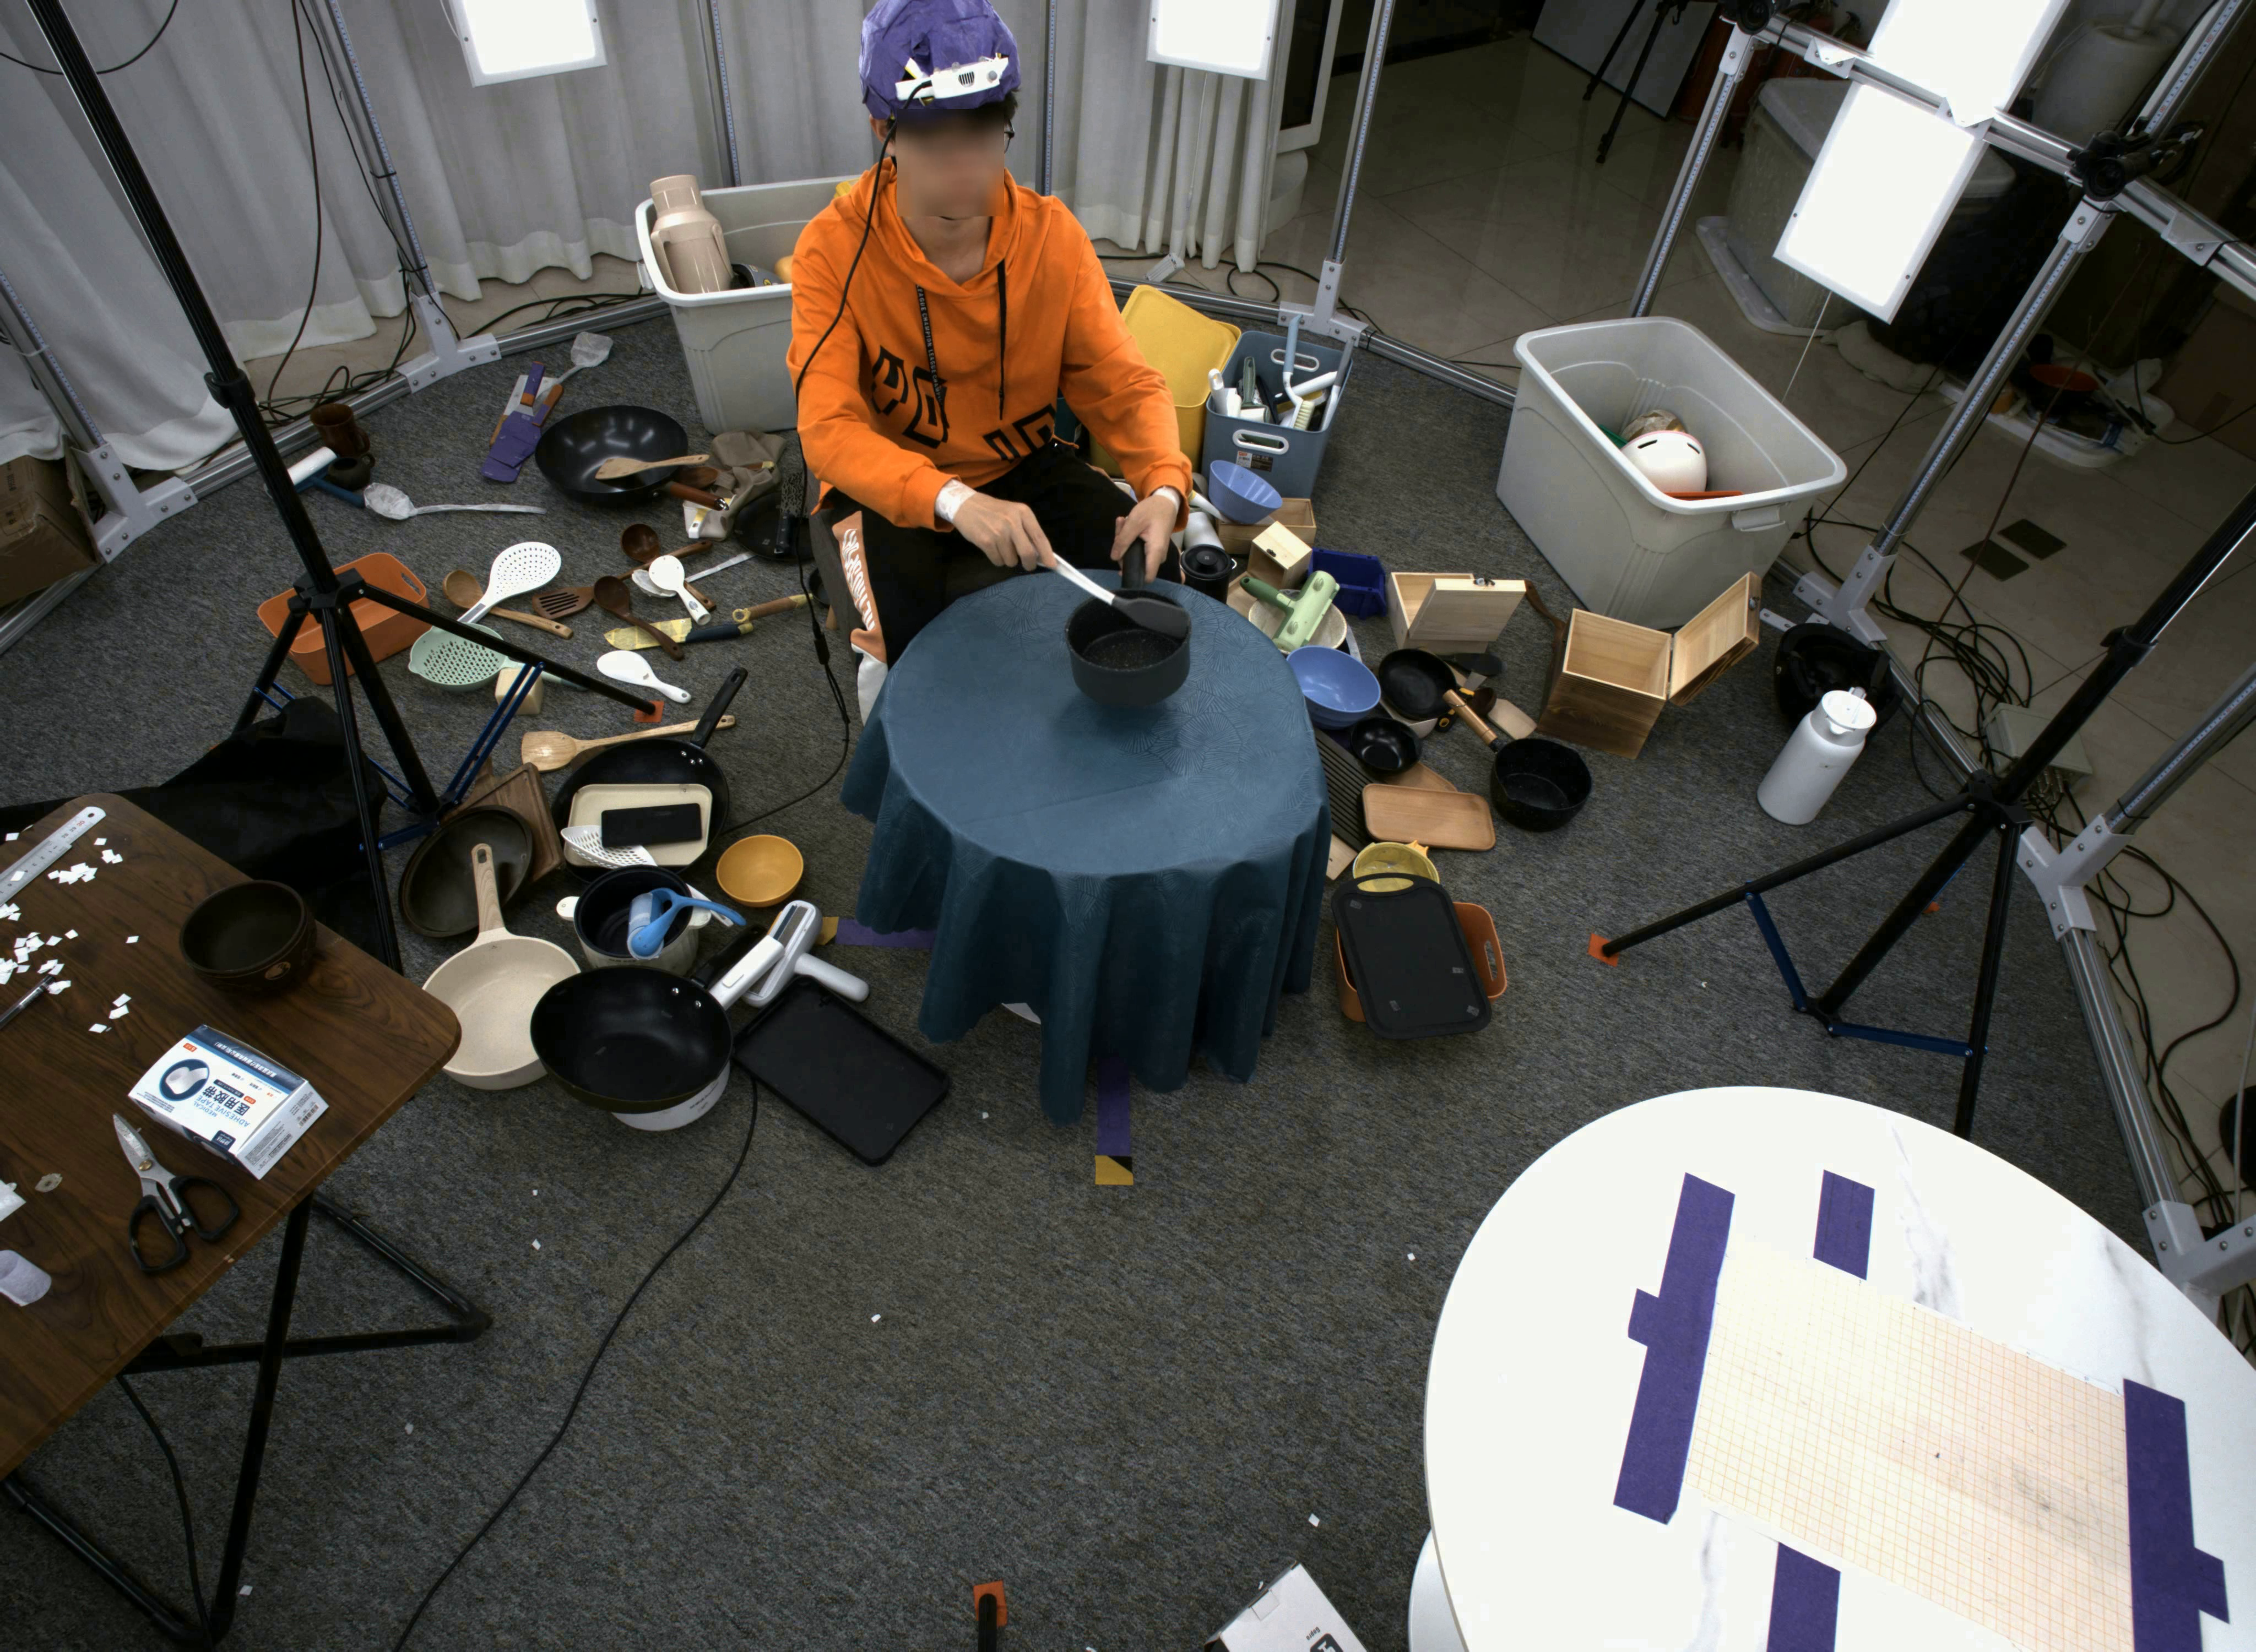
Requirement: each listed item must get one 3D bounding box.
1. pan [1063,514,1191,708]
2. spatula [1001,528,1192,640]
[{"bbox_3d":[0.008,-0.304,1.801,0.172,0.084,0.337,2,49,6],"label":"pan"},{"bbox_3d":[-0.044,-0.327,1.741,0.289,0.057,0.033,29,49,13],"label":"spatula"}]
